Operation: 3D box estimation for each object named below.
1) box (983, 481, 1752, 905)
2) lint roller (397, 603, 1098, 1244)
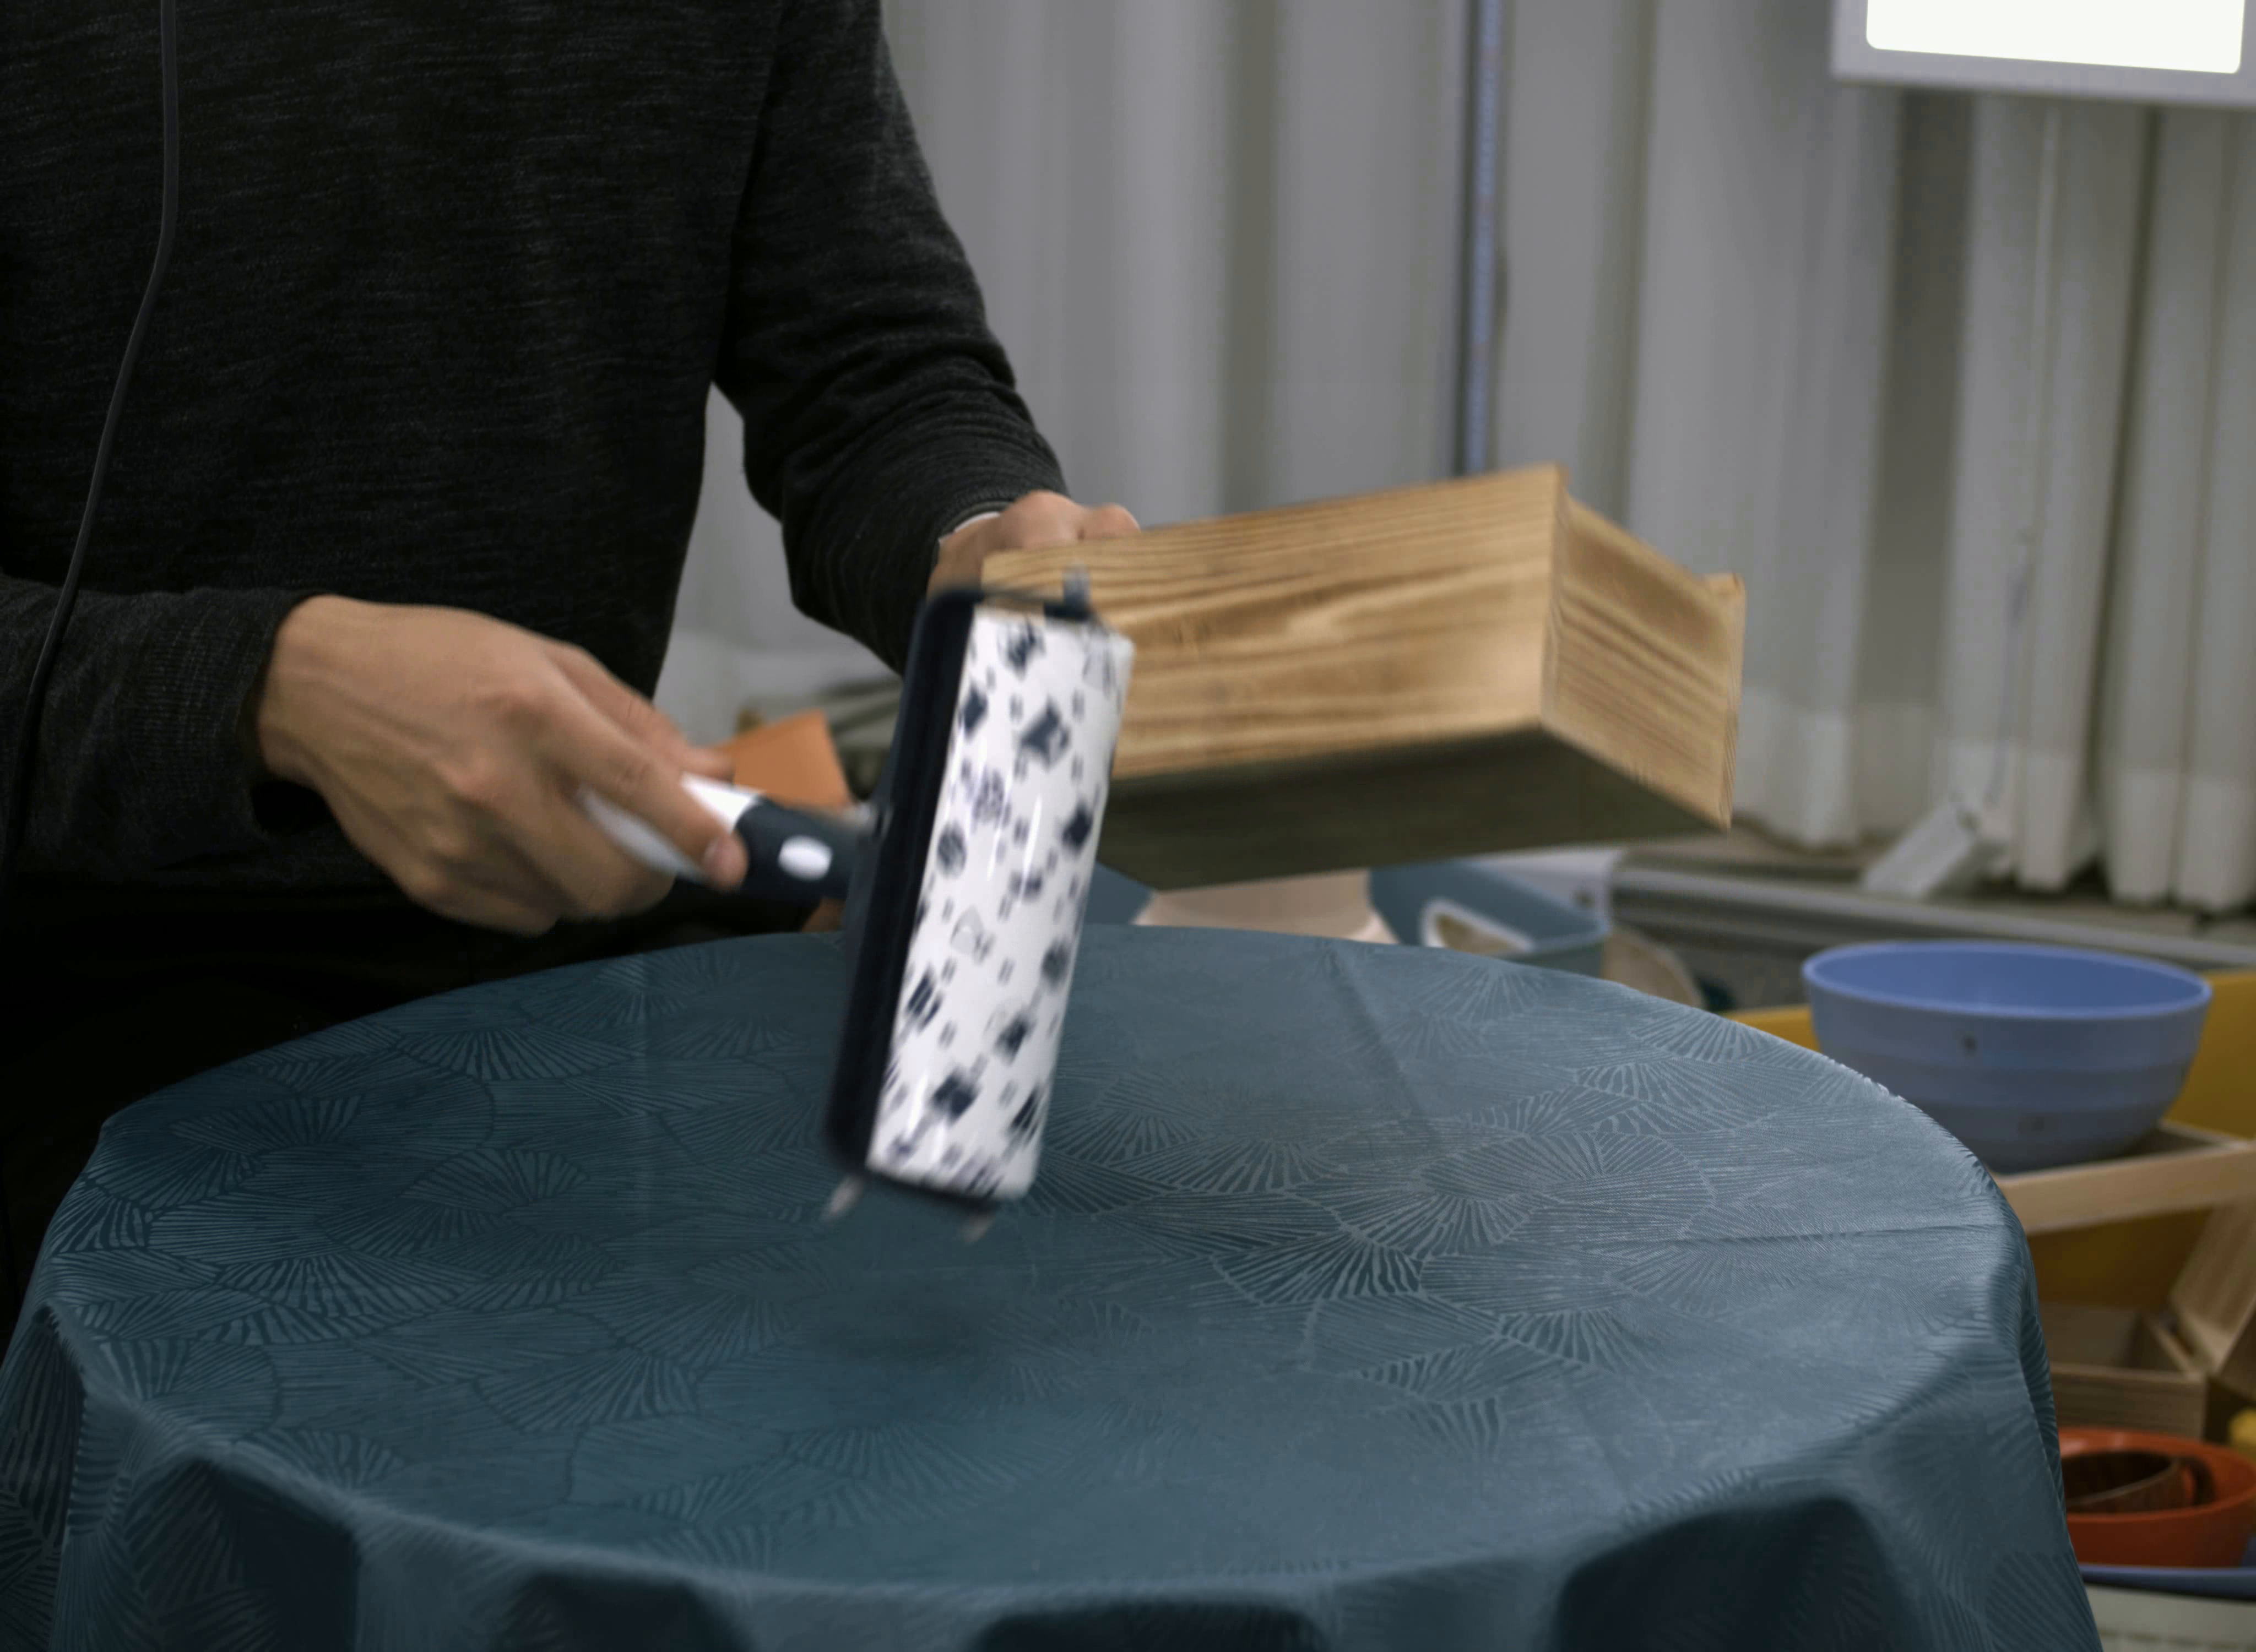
[{"bbox_3d":[0.068,-0.036,1.581,0.209,0.080,0.109,-6,-20,35],"label":"box"},{"bbox_3d":[-0.125,0.010,1.531,0.244,0.177,0.051,13,5,33],"label":"lint roller"}]
